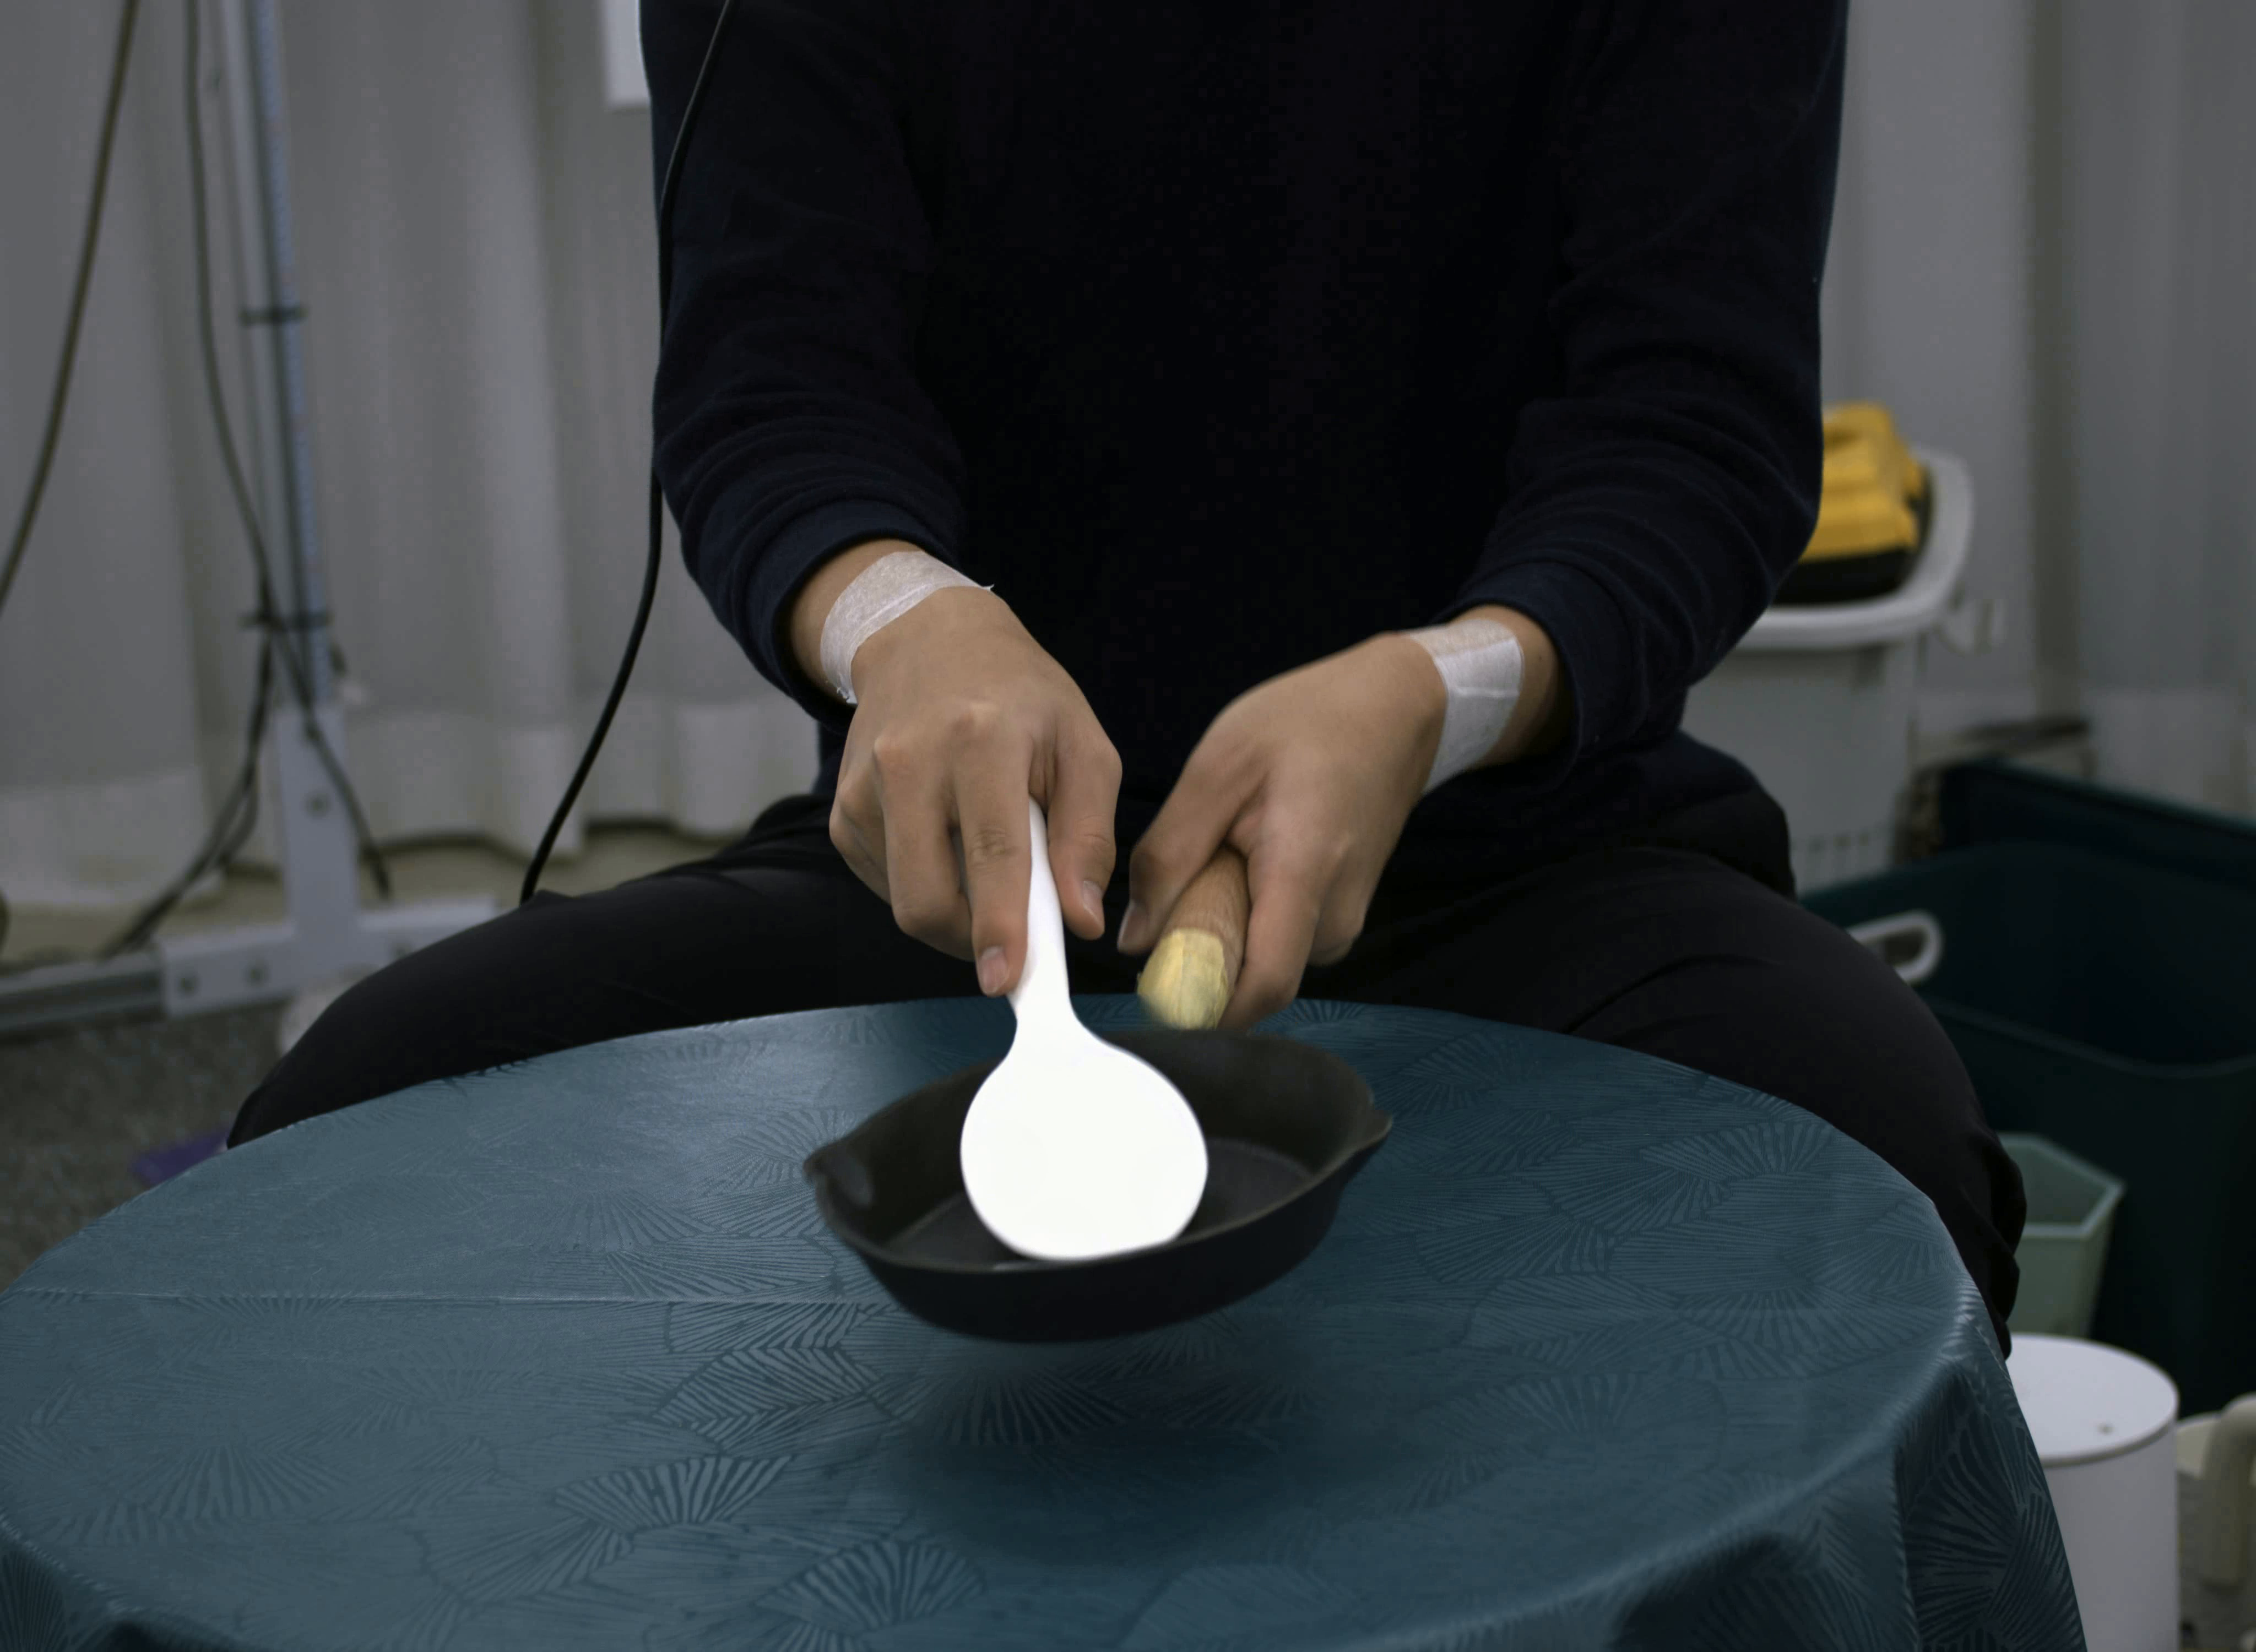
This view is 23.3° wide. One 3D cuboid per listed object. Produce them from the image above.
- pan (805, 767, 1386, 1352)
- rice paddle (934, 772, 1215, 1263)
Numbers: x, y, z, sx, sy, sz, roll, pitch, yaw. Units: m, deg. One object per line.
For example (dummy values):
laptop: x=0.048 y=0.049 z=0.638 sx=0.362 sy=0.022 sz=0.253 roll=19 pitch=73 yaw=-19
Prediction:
pan: x=0.013 y=0.065 z=1.597 sx=0.169 sy=0.049 sz=0.326 roll=-3 pitch=22 yaw=18
rice paddle: x=-0.022 y=0.057 z=1.584 sx=0.068 sy=0.029 sz=0.208 roll=-11 pitch=39 yaw=-6
